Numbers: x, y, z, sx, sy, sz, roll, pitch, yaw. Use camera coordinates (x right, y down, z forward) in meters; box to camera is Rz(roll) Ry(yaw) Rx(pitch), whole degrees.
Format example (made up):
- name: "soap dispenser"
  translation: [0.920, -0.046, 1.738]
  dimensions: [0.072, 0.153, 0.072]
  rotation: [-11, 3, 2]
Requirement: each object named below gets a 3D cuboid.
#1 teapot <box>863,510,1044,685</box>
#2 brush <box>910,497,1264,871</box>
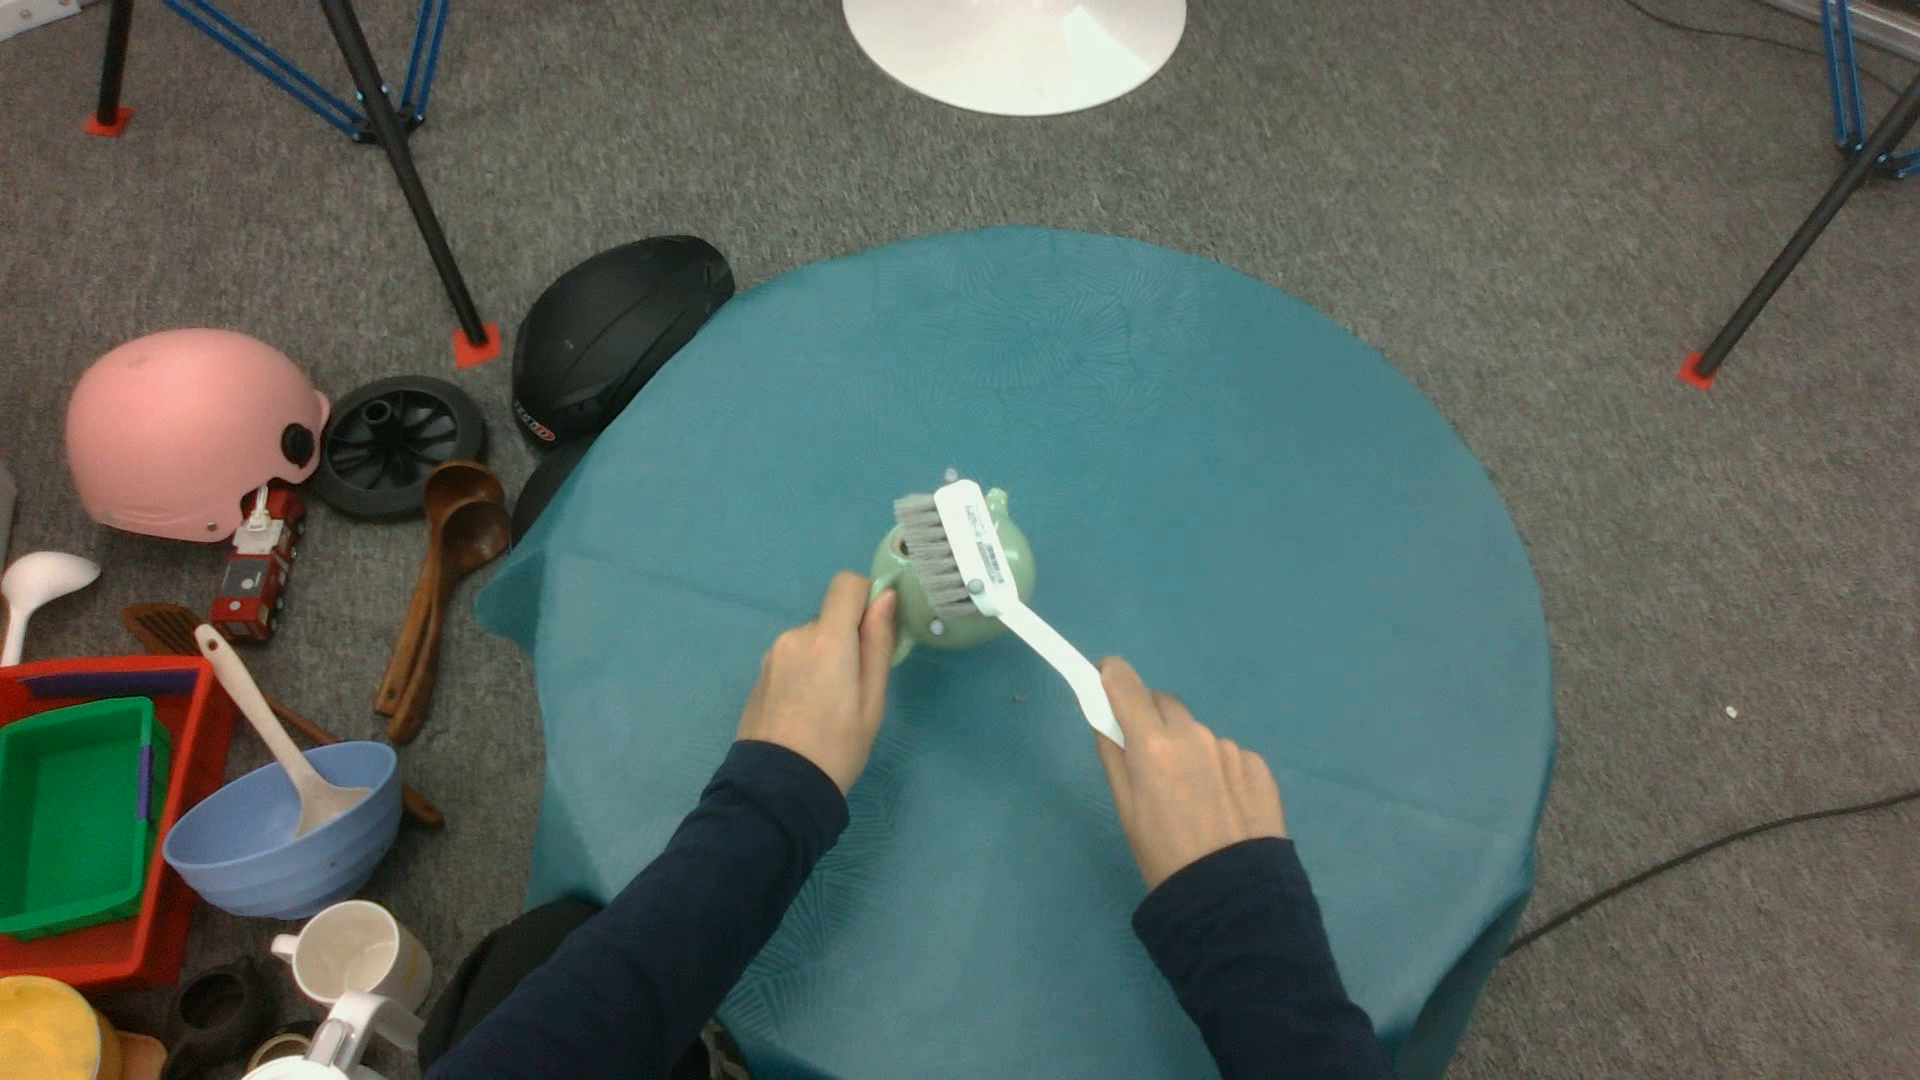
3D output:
- name: "teapot"
  translation: [-0.005, 0.036, 0.762]
  dimensions: [0.091, 0.060, 0.129]
  rotation: [22, 43, 40]
- name: "brush"
  translation: [0.059, 0.078, 0.697]
  dimensions: [0.050, 0.034, 0.244]
  rotation: [-42, 81, 19]
